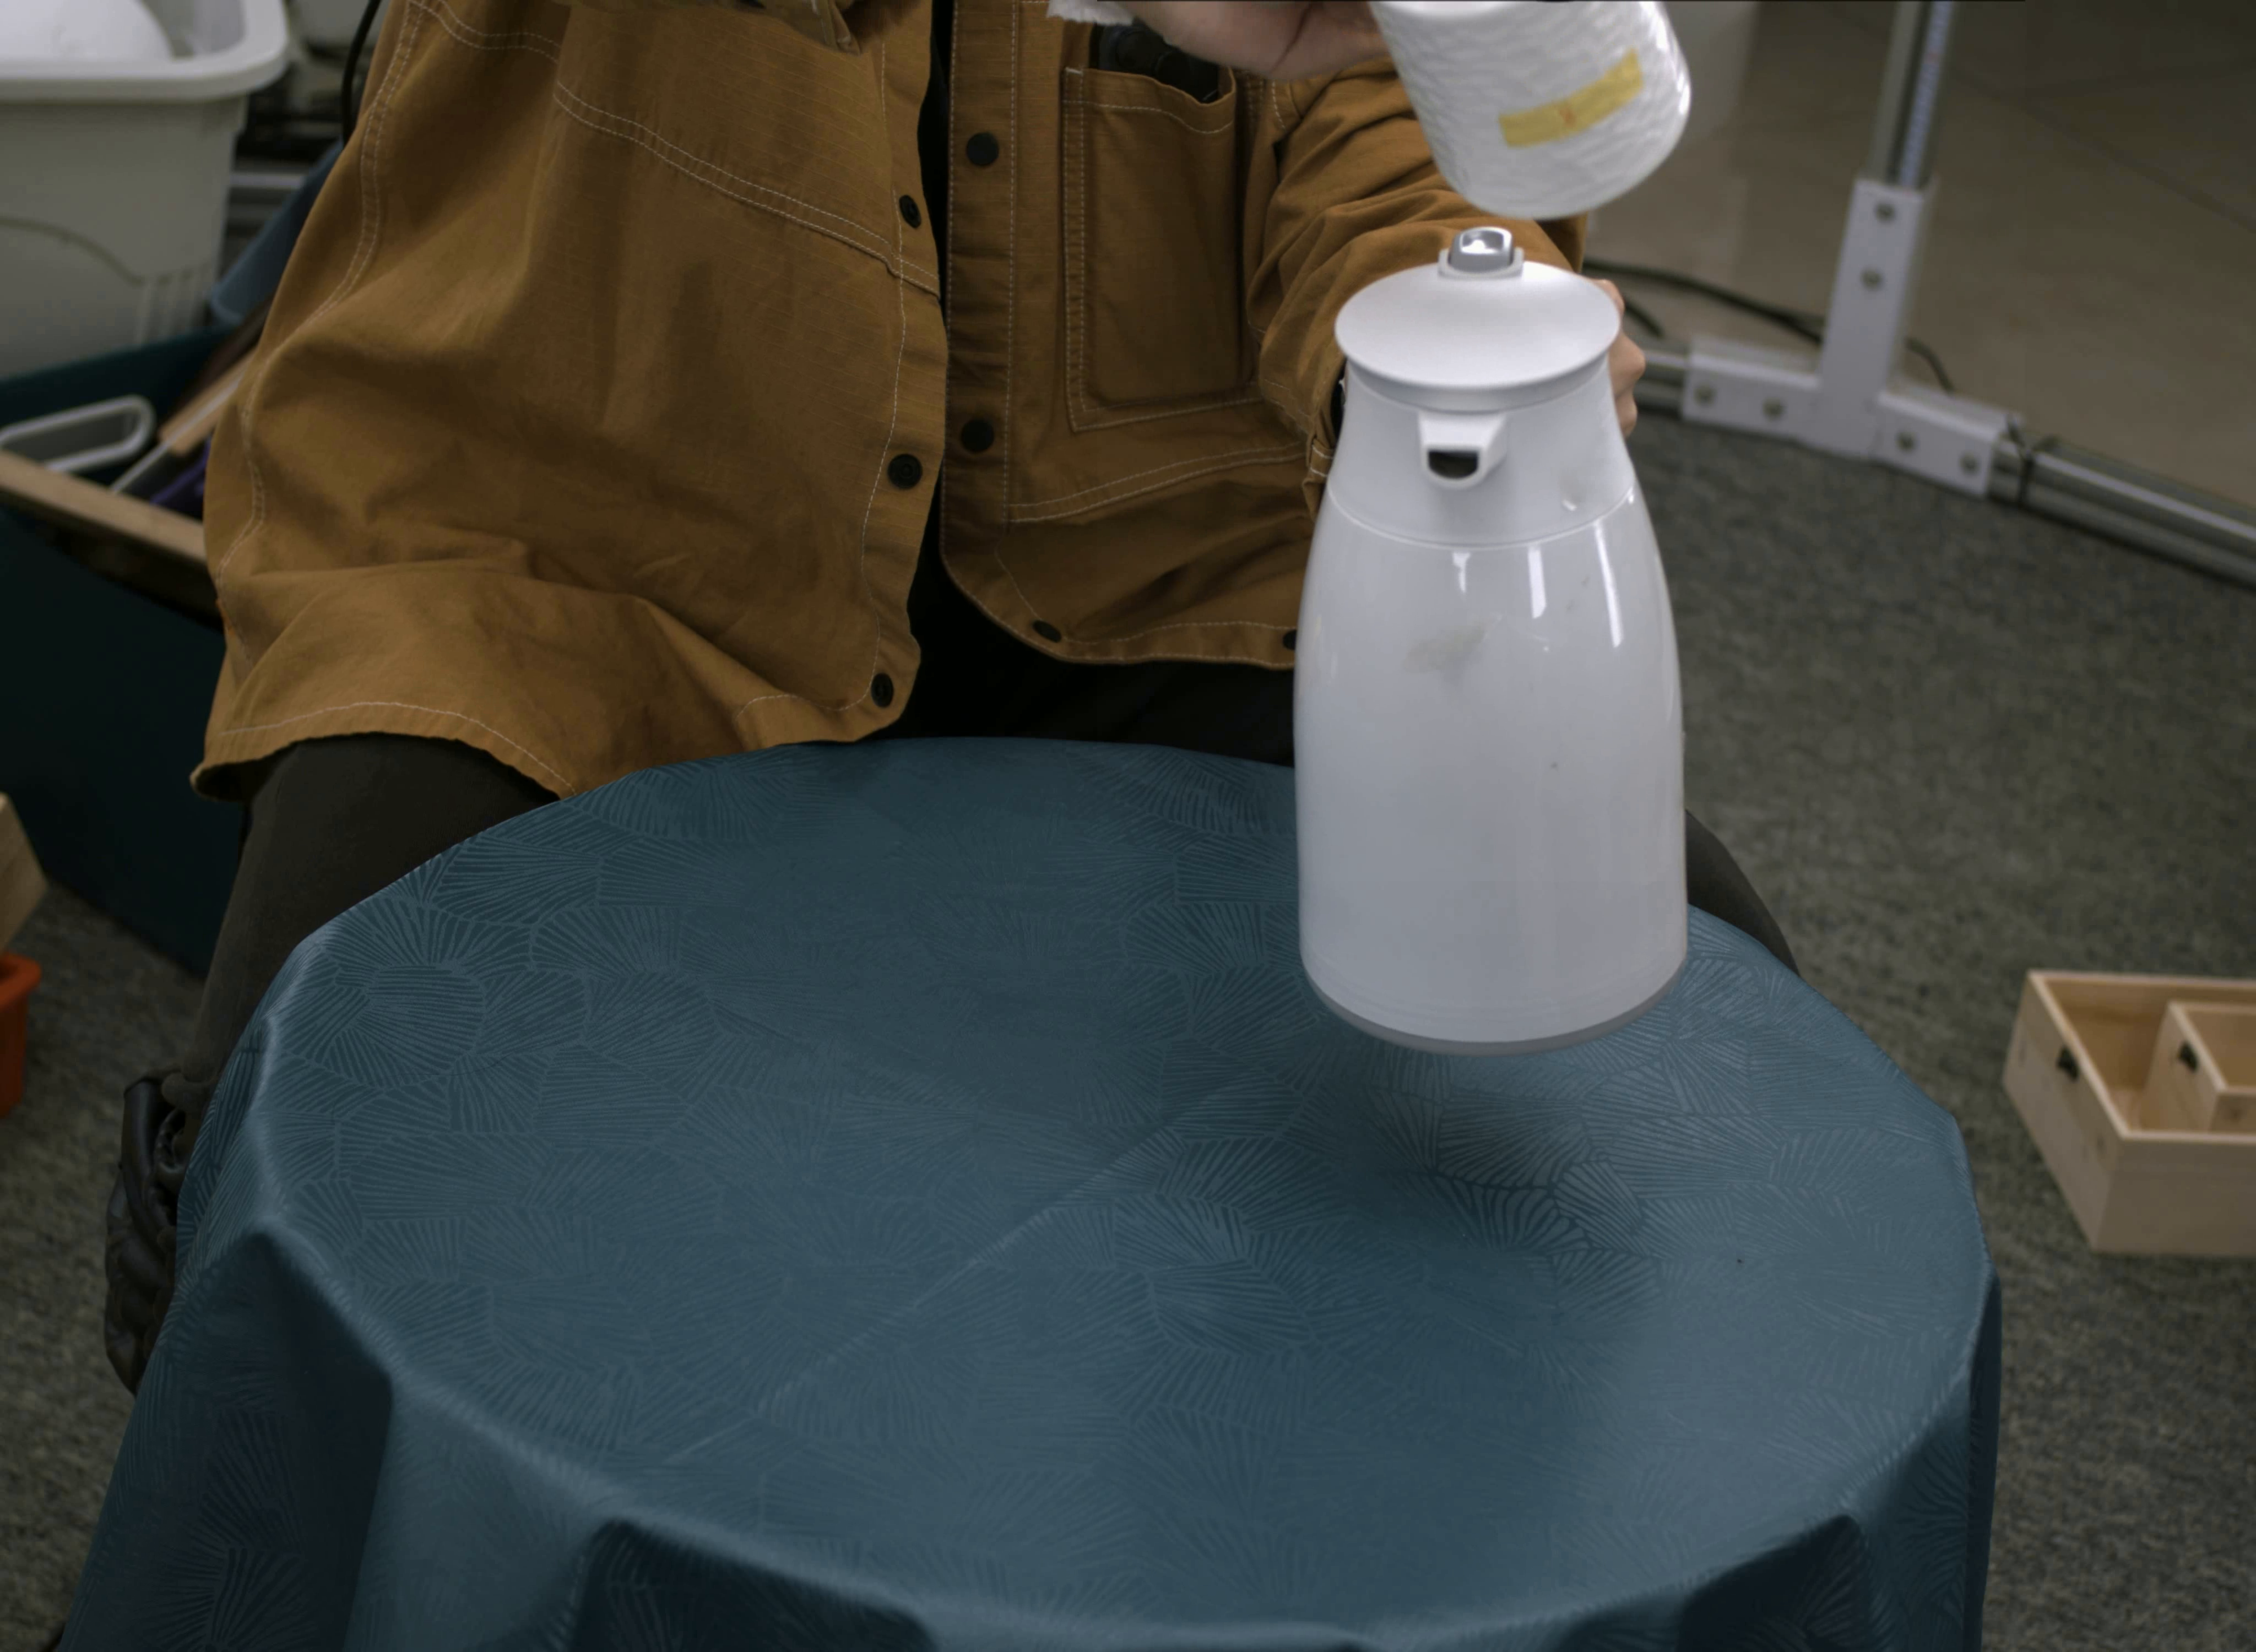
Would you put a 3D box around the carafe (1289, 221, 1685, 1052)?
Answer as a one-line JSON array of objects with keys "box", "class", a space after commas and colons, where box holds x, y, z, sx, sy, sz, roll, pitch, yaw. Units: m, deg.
[{"box": [0.118, -0.073, 1.774, 0.132, 0.247, 0.168, 1, 30, 10], "class": "carafe"}]

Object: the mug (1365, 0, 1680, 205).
[{"box": [0.107, -0.264, 1.654, 0.085, 0.101, 0.119, -44, 52, -12], "class": "mug"}]
